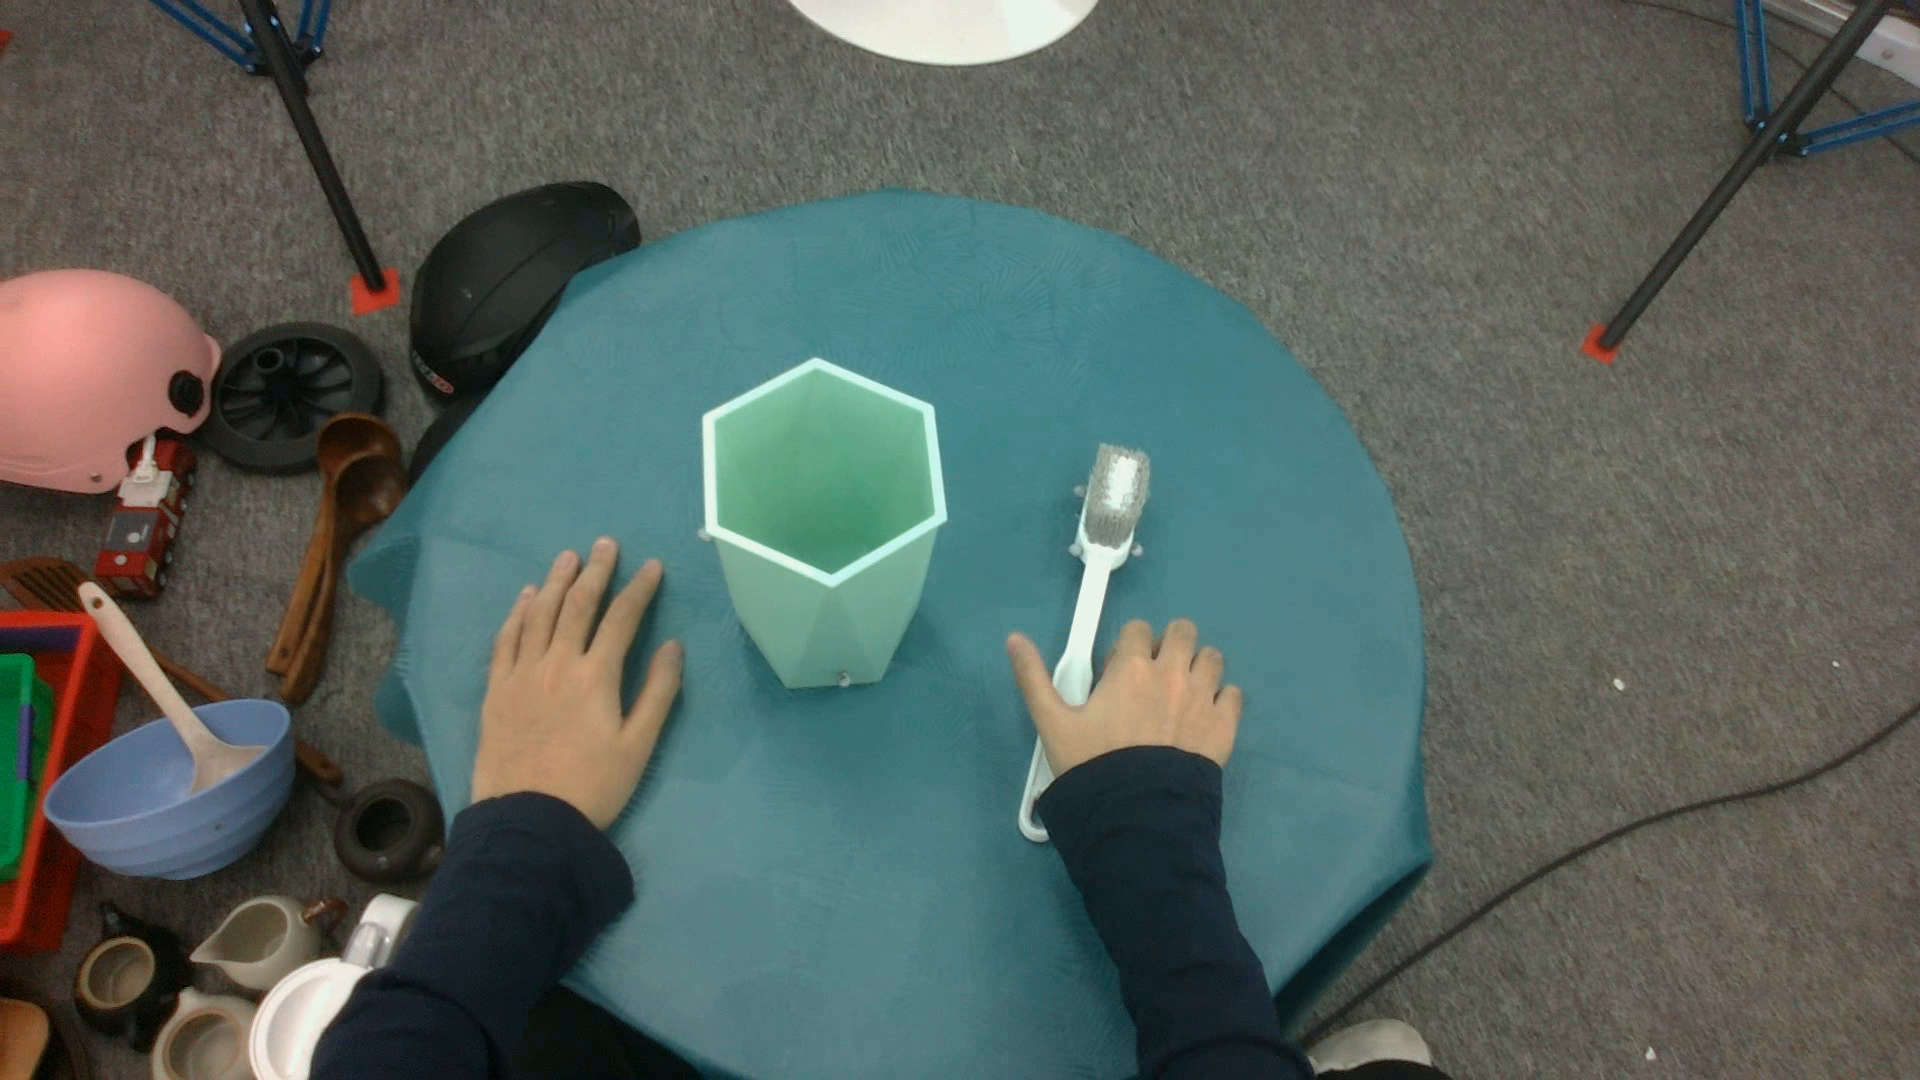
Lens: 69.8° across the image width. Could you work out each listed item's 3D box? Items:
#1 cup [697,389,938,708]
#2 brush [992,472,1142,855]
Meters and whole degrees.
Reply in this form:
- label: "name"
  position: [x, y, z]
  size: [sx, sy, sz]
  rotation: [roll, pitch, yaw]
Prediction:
- label: "cup"
  position: [-0.077, 0.017, 0.749]
  size: [0.131, 0.162, 0.115]
  rotation: [-33, 69, -21]
- label: "brush"
  position: [0.064, 0.063, 0.802]
  size: [0.034, 0.050, 0.245]
  rotation: [19, 59, 1]
